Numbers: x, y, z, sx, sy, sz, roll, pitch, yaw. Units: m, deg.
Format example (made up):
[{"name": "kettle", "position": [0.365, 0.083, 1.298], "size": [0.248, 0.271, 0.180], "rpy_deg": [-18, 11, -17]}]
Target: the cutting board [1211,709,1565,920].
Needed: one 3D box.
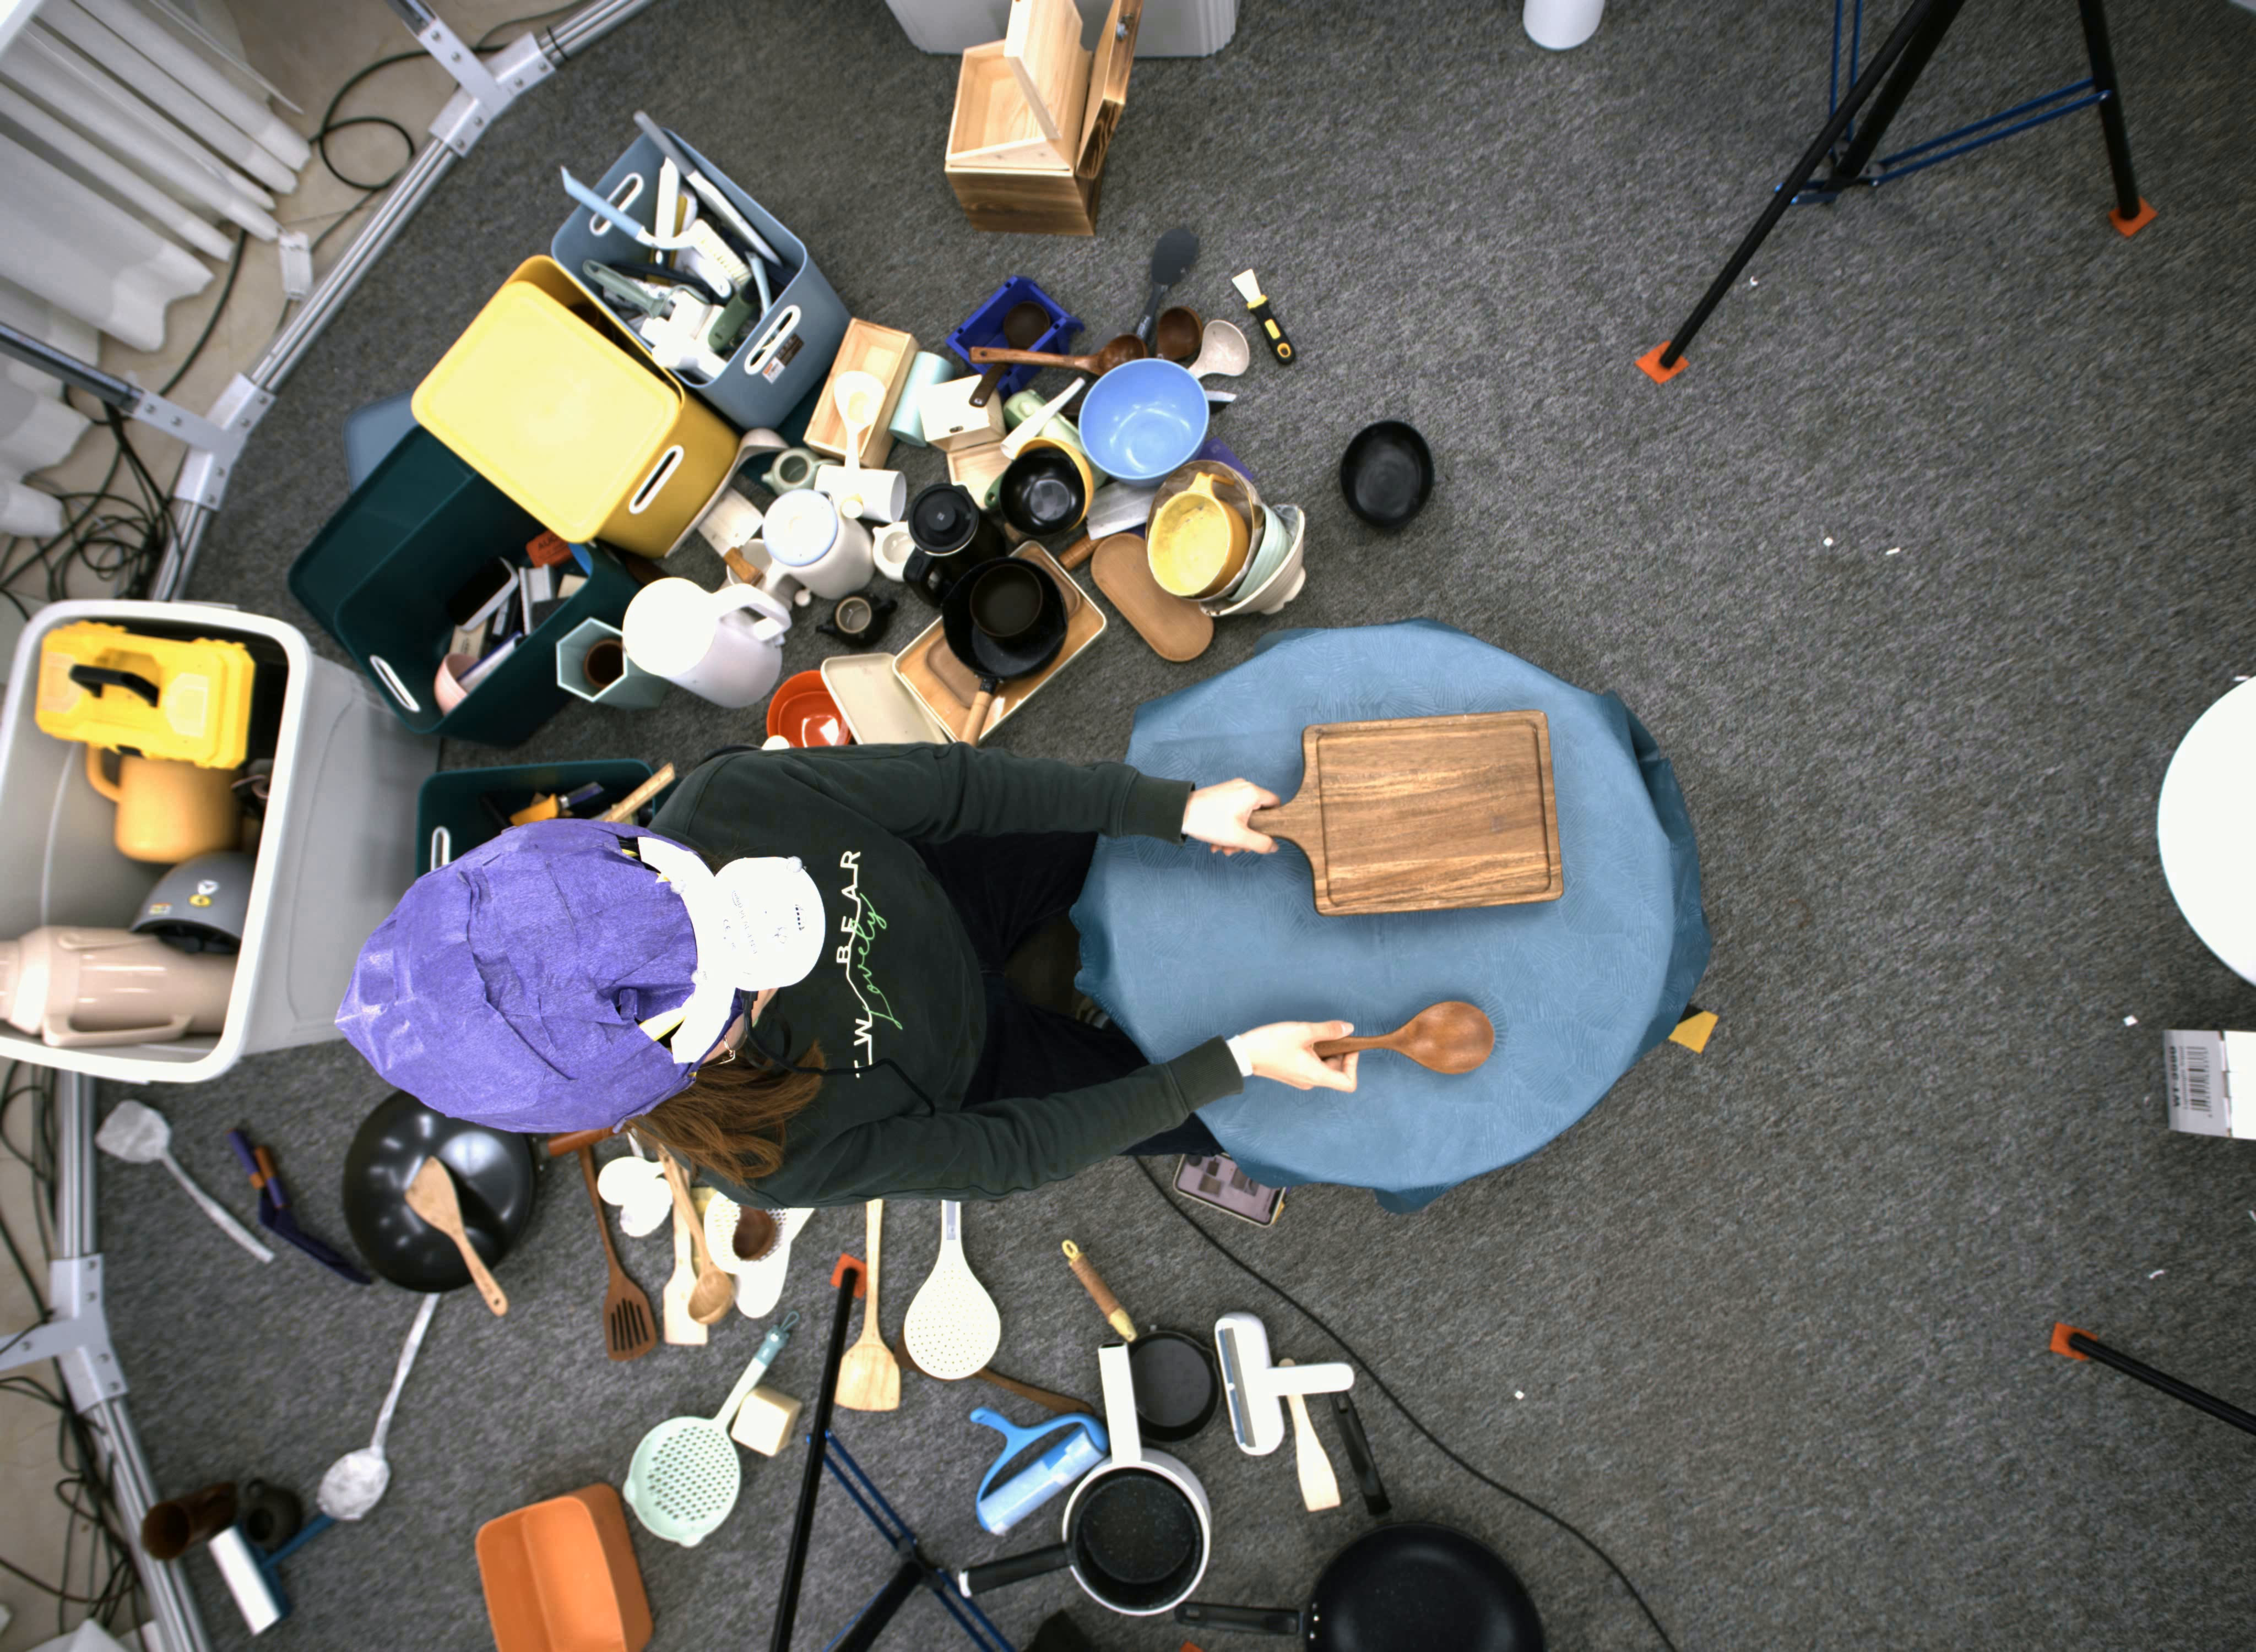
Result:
[{"name": "cutting board", "position": [0.260, -0.010, 1.400], "size": [0.353, 0.023, 0.200], "rpy_deg": [-4, 88, 2]}]

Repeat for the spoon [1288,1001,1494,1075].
[{"name": "spoon", "position": [0.267, 0.217, 1.401], "size": [0.215, 0.017, 0.075], "rpy_deg": [-3, 88, -8]}]
